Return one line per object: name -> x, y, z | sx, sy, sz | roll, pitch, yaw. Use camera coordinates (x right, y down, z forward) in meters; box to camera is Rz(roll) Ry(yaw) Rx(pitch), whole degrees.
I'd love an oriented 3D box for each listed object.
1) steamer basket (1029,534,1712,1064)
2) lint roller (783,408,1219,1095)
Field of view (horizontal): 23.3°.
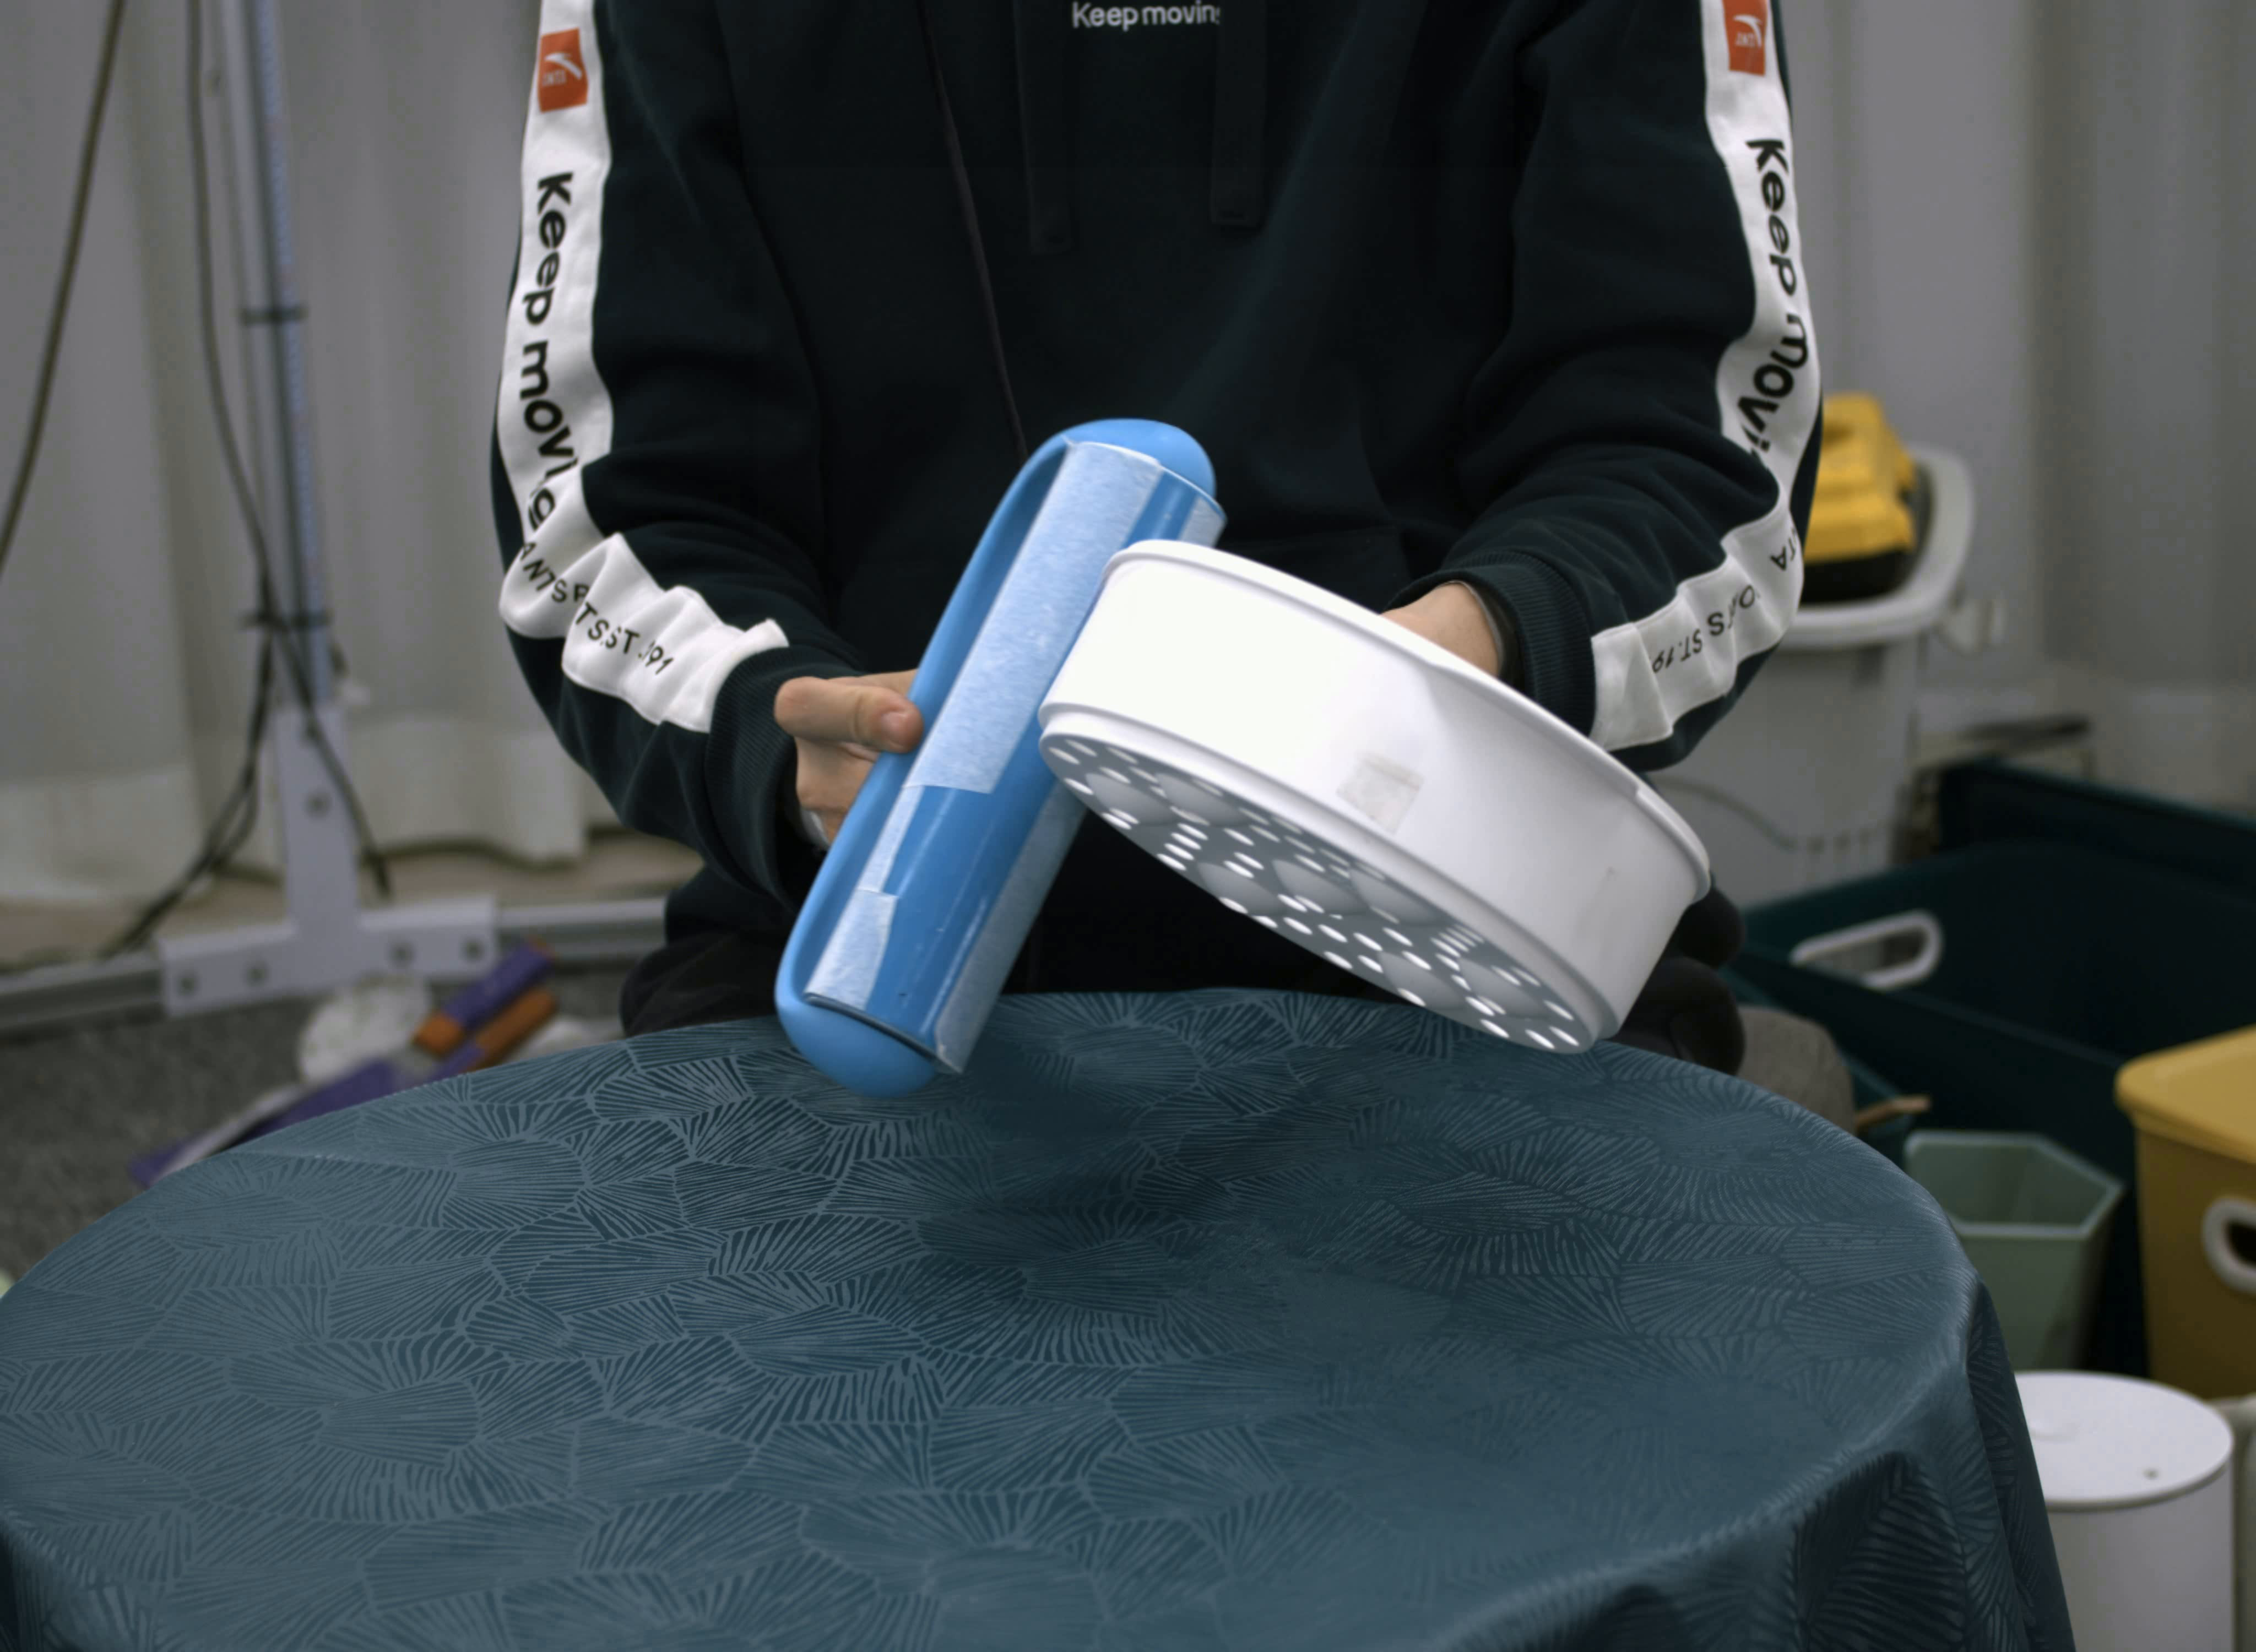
steamer basket -> 0.068, -0.004, 1.594 | 0.200, 0.069, 0.231 | 34, -12, -16
lint roller -> -0.048, -0.014, 1.722 | 0.067, 0.231, 0.179 | 25, -15, -8
